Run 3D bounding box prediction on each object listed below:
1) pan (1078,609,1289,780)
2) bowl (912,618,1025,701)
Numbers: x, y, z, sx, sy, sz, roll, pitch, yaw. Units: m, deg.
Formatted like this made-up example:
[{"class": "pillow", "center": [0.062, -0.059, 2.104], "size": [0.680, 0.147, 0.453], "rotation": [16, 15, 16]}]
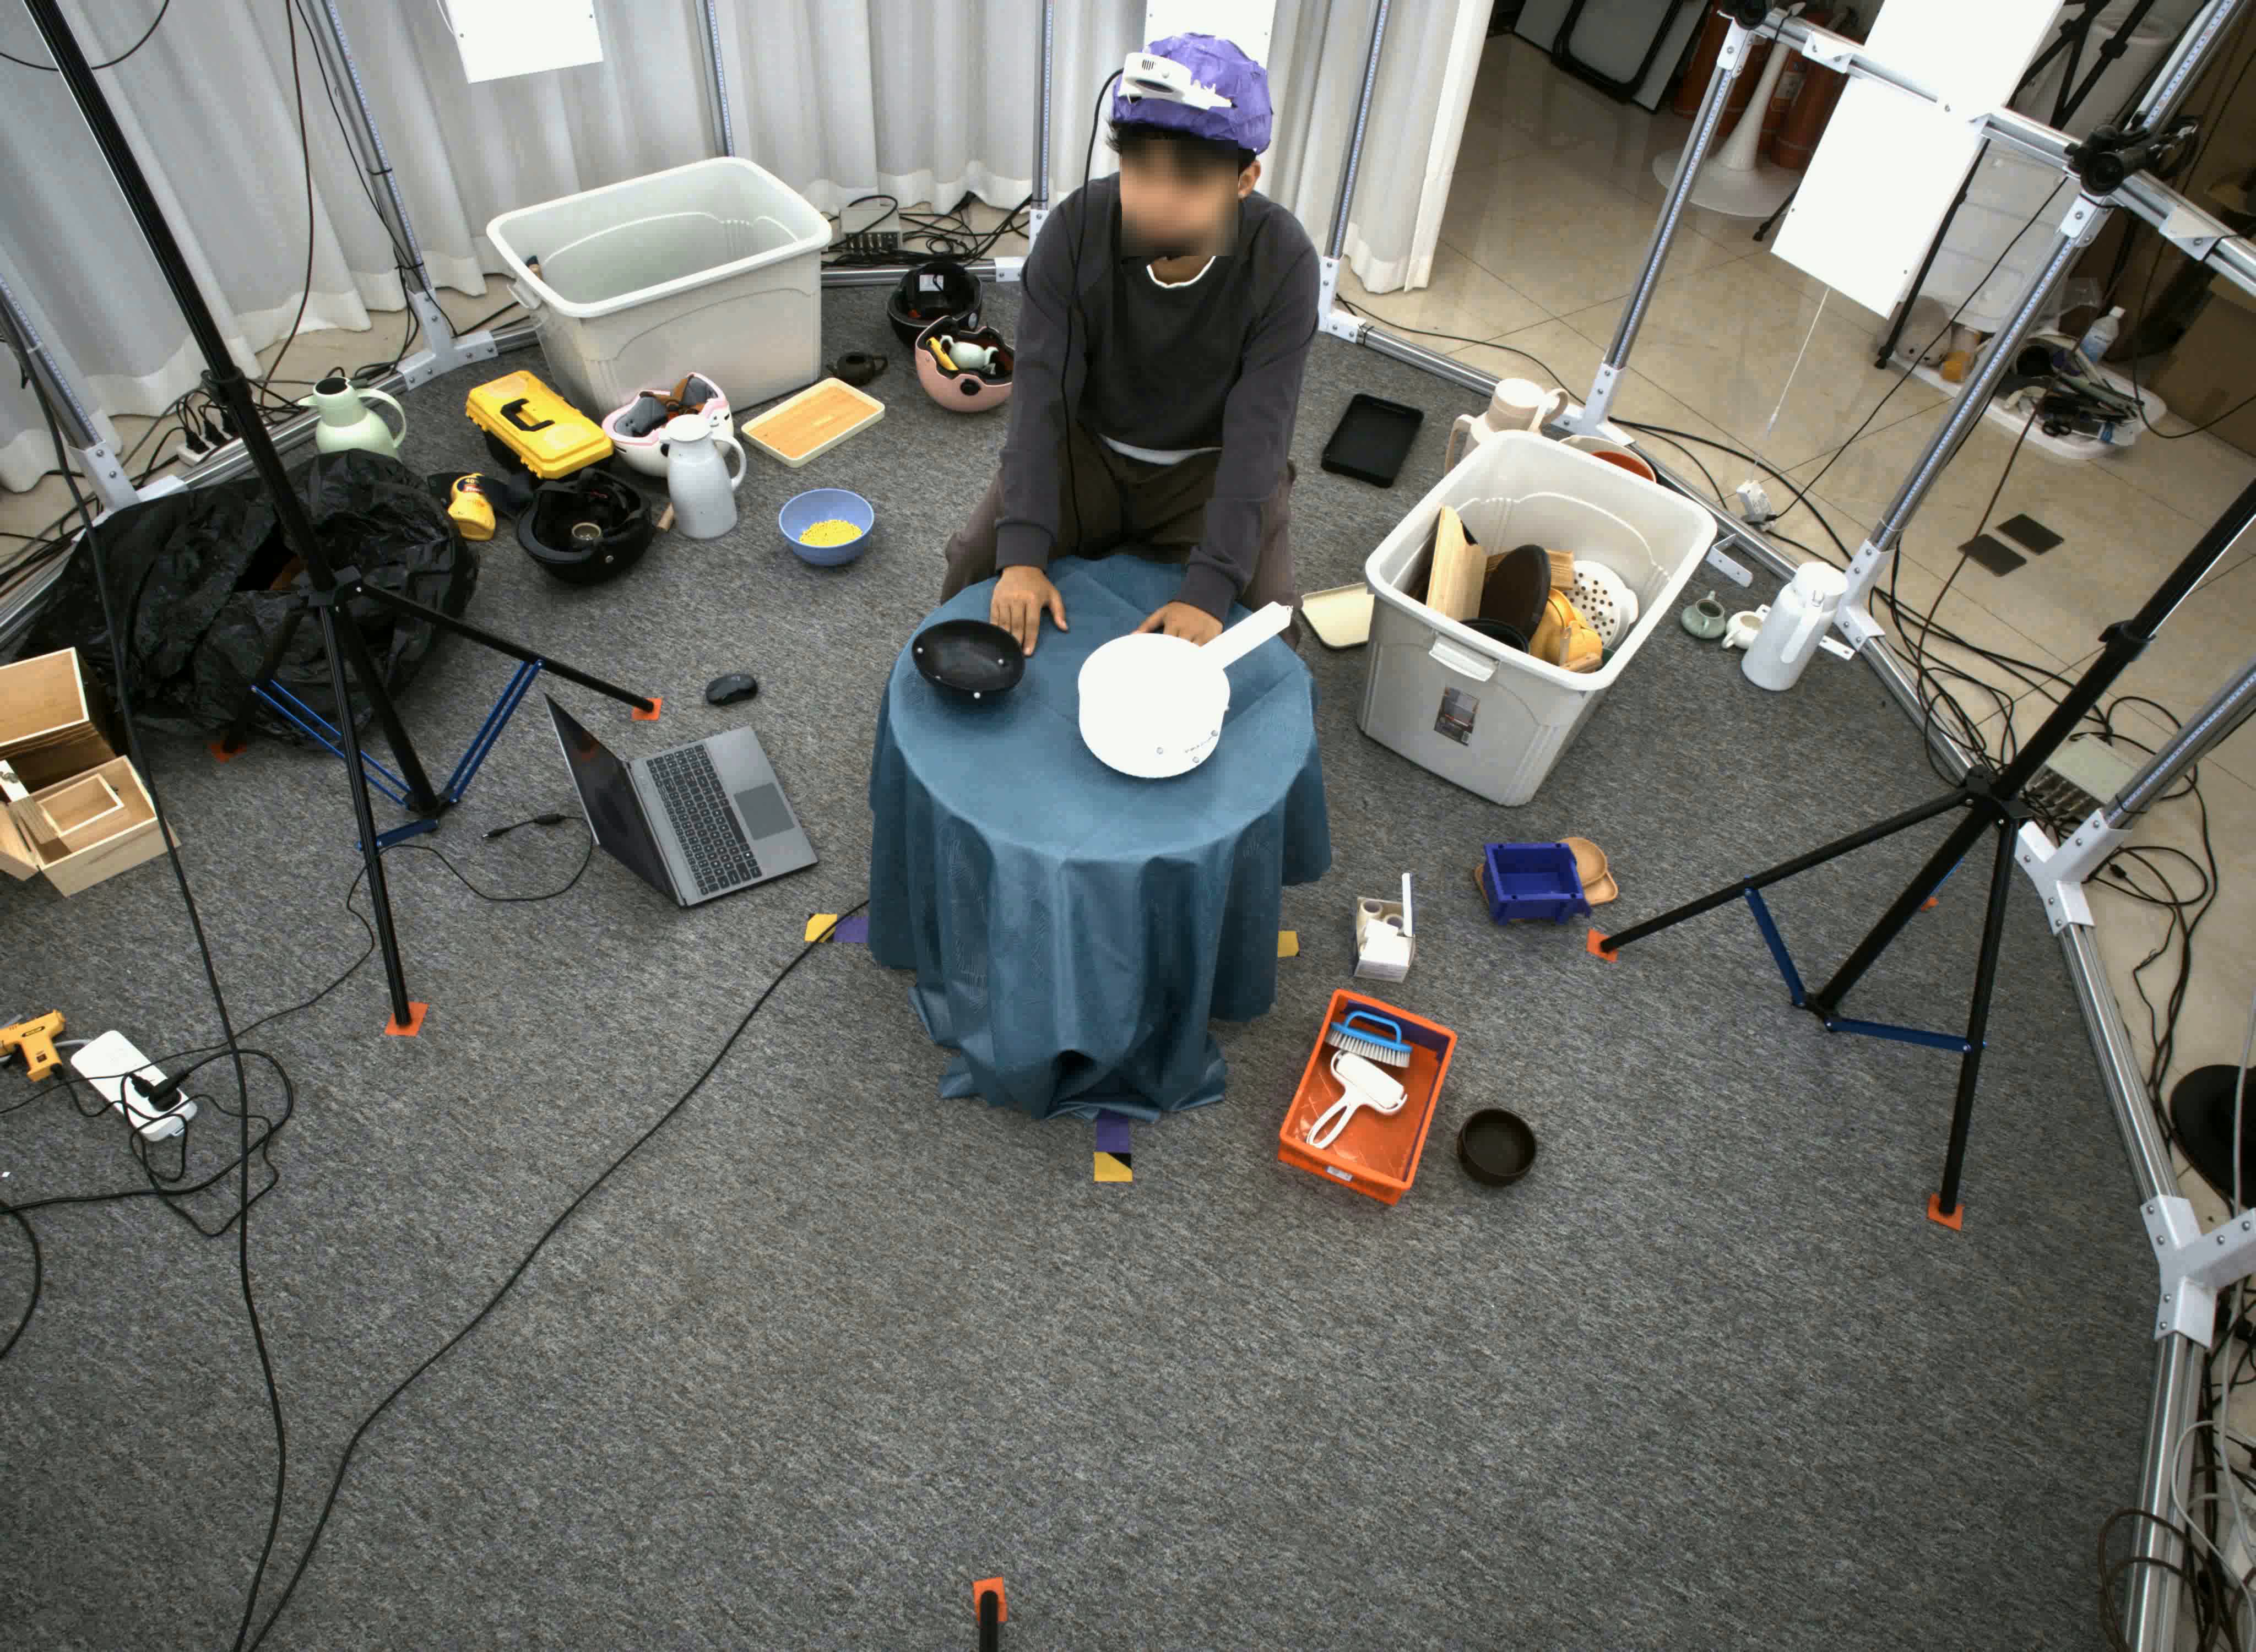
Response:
[{"class": "pan", "center": [0.087, -0.190, 1.784], "size": [0.358, 0.099, 0.204], "rotation": [-33, 56, -31]}, {"class": "bowl", "center": [-0.223, -0.221, 1.798], "size": [0.172, 0.065, 0.139], "rotation": [26, 52, 20]}]
